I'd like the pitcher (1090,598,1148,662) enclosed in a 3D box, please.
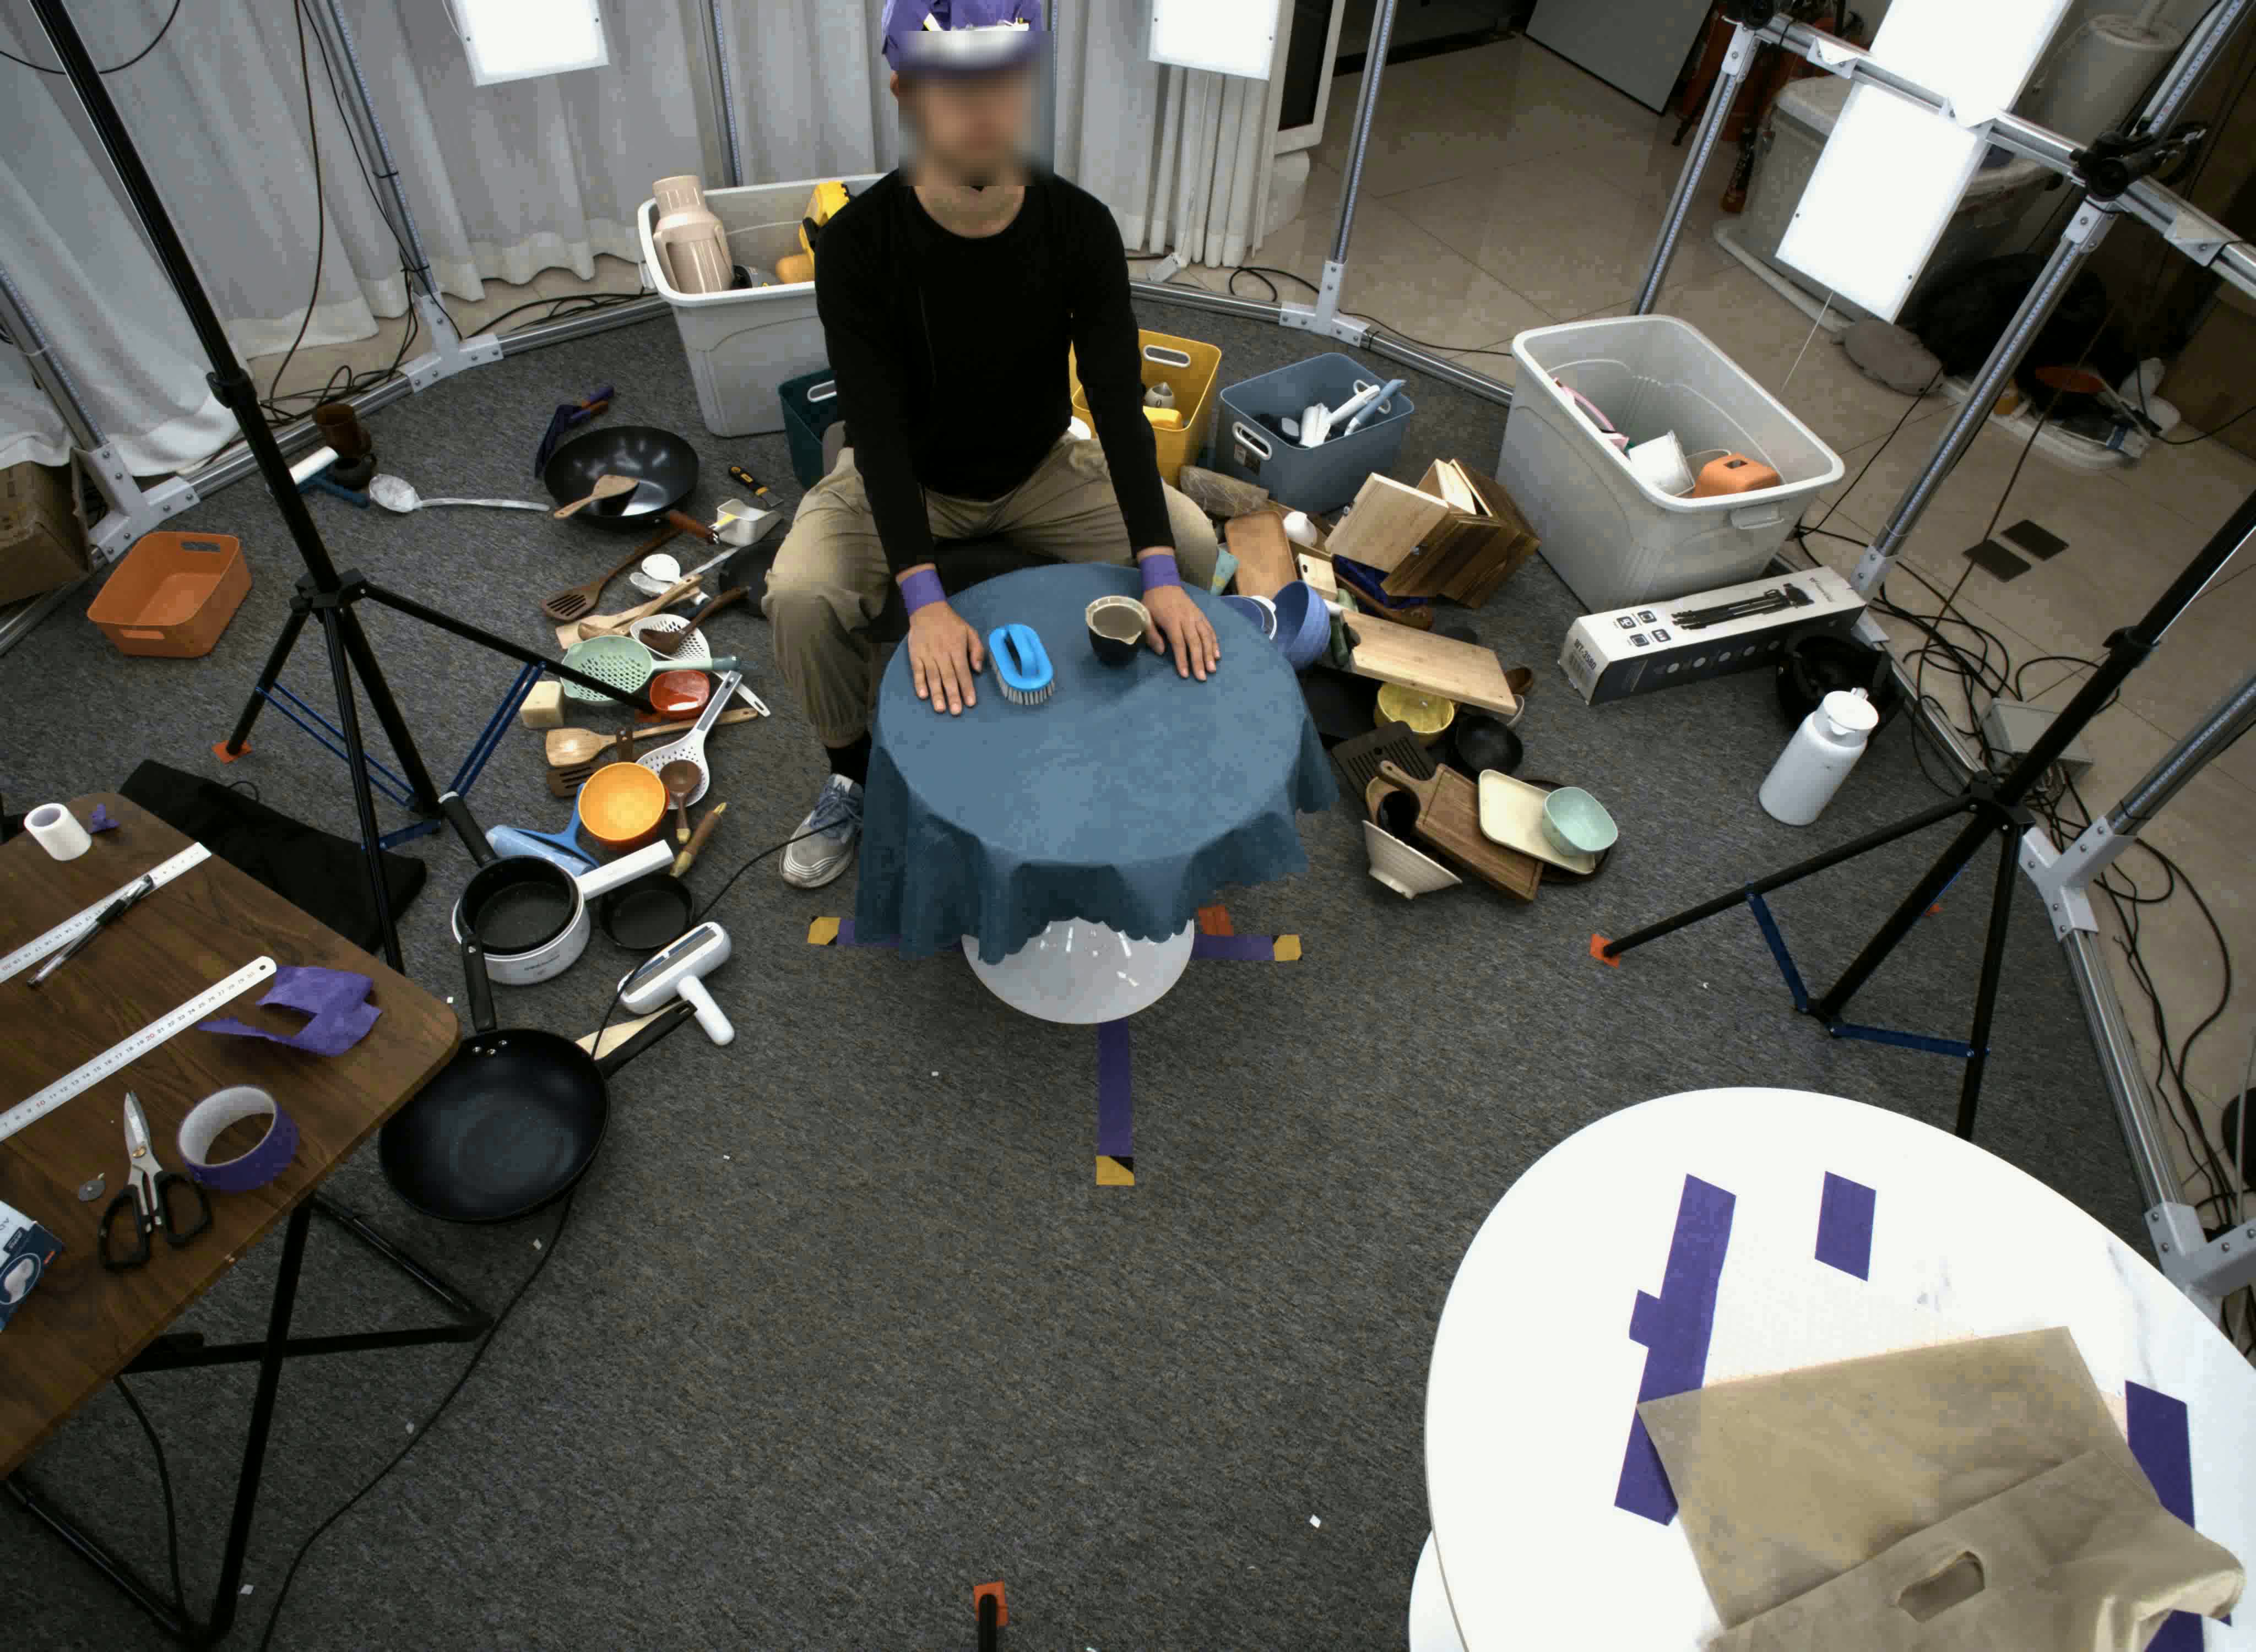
[{"bbox_3d":[-0.013,-0.277,1.857,0.083,0.069,0.098,-8,52,-12],"label":"pitcher"}]

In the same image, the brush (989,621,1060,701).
[{"bbox_3d":[-0.150,-0.245,1.826,0.084,0.062,0.145,-15,51,-11],"label":"brush"}]
